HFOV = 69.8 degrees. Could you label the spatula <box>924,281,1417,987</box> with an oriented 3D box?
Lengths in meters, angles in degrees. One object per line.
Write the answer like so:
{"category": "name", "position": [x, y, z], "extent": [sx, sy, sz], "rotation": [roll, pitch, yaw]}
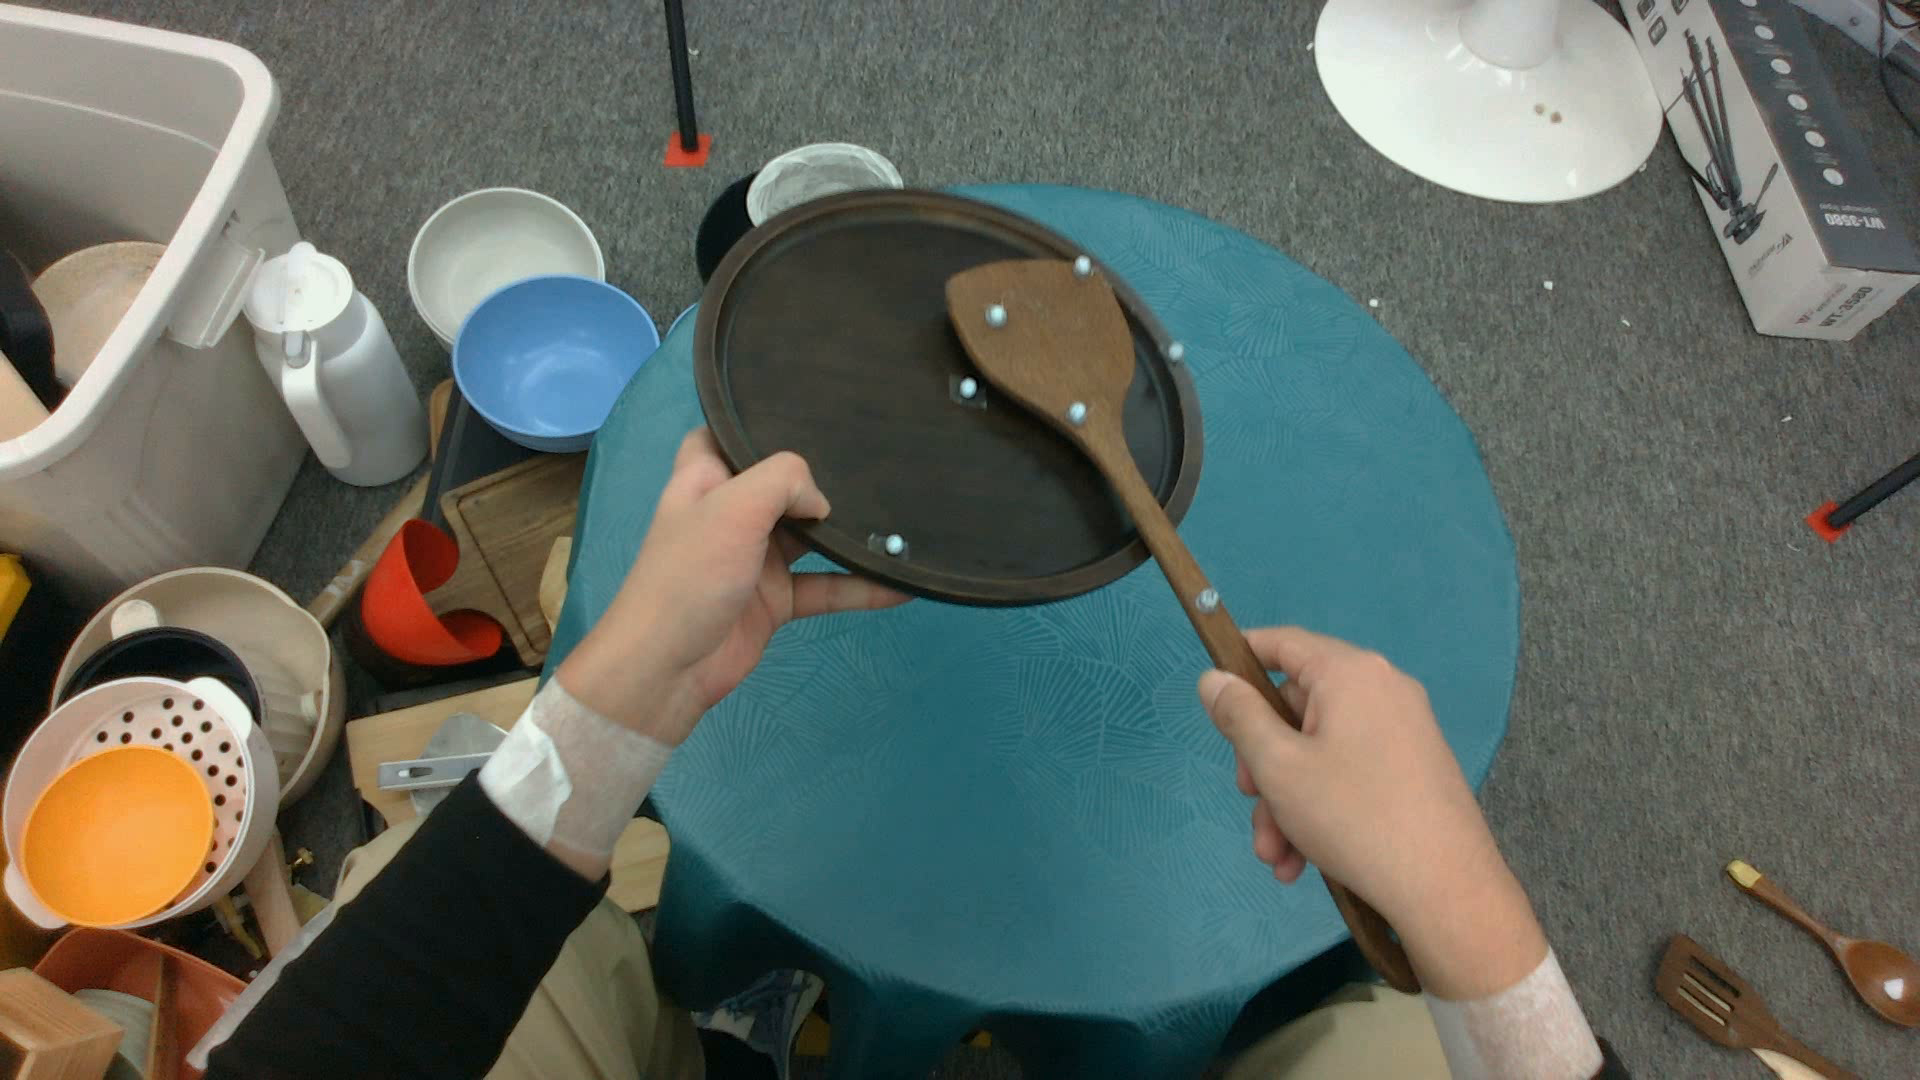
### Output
{"category": "spatula", "position": [0.092, 0.018, 0.616], "extent": [0.096, 0.015, 0.387], "rotation": [-11, 56, -27]}

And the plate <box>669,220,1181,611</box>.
{"category": "plate", "position": [-0.014, -0.067, 0.665], "extent": [0.255, 0.029, 0.256], "rotation": [12, 47, -13]}
